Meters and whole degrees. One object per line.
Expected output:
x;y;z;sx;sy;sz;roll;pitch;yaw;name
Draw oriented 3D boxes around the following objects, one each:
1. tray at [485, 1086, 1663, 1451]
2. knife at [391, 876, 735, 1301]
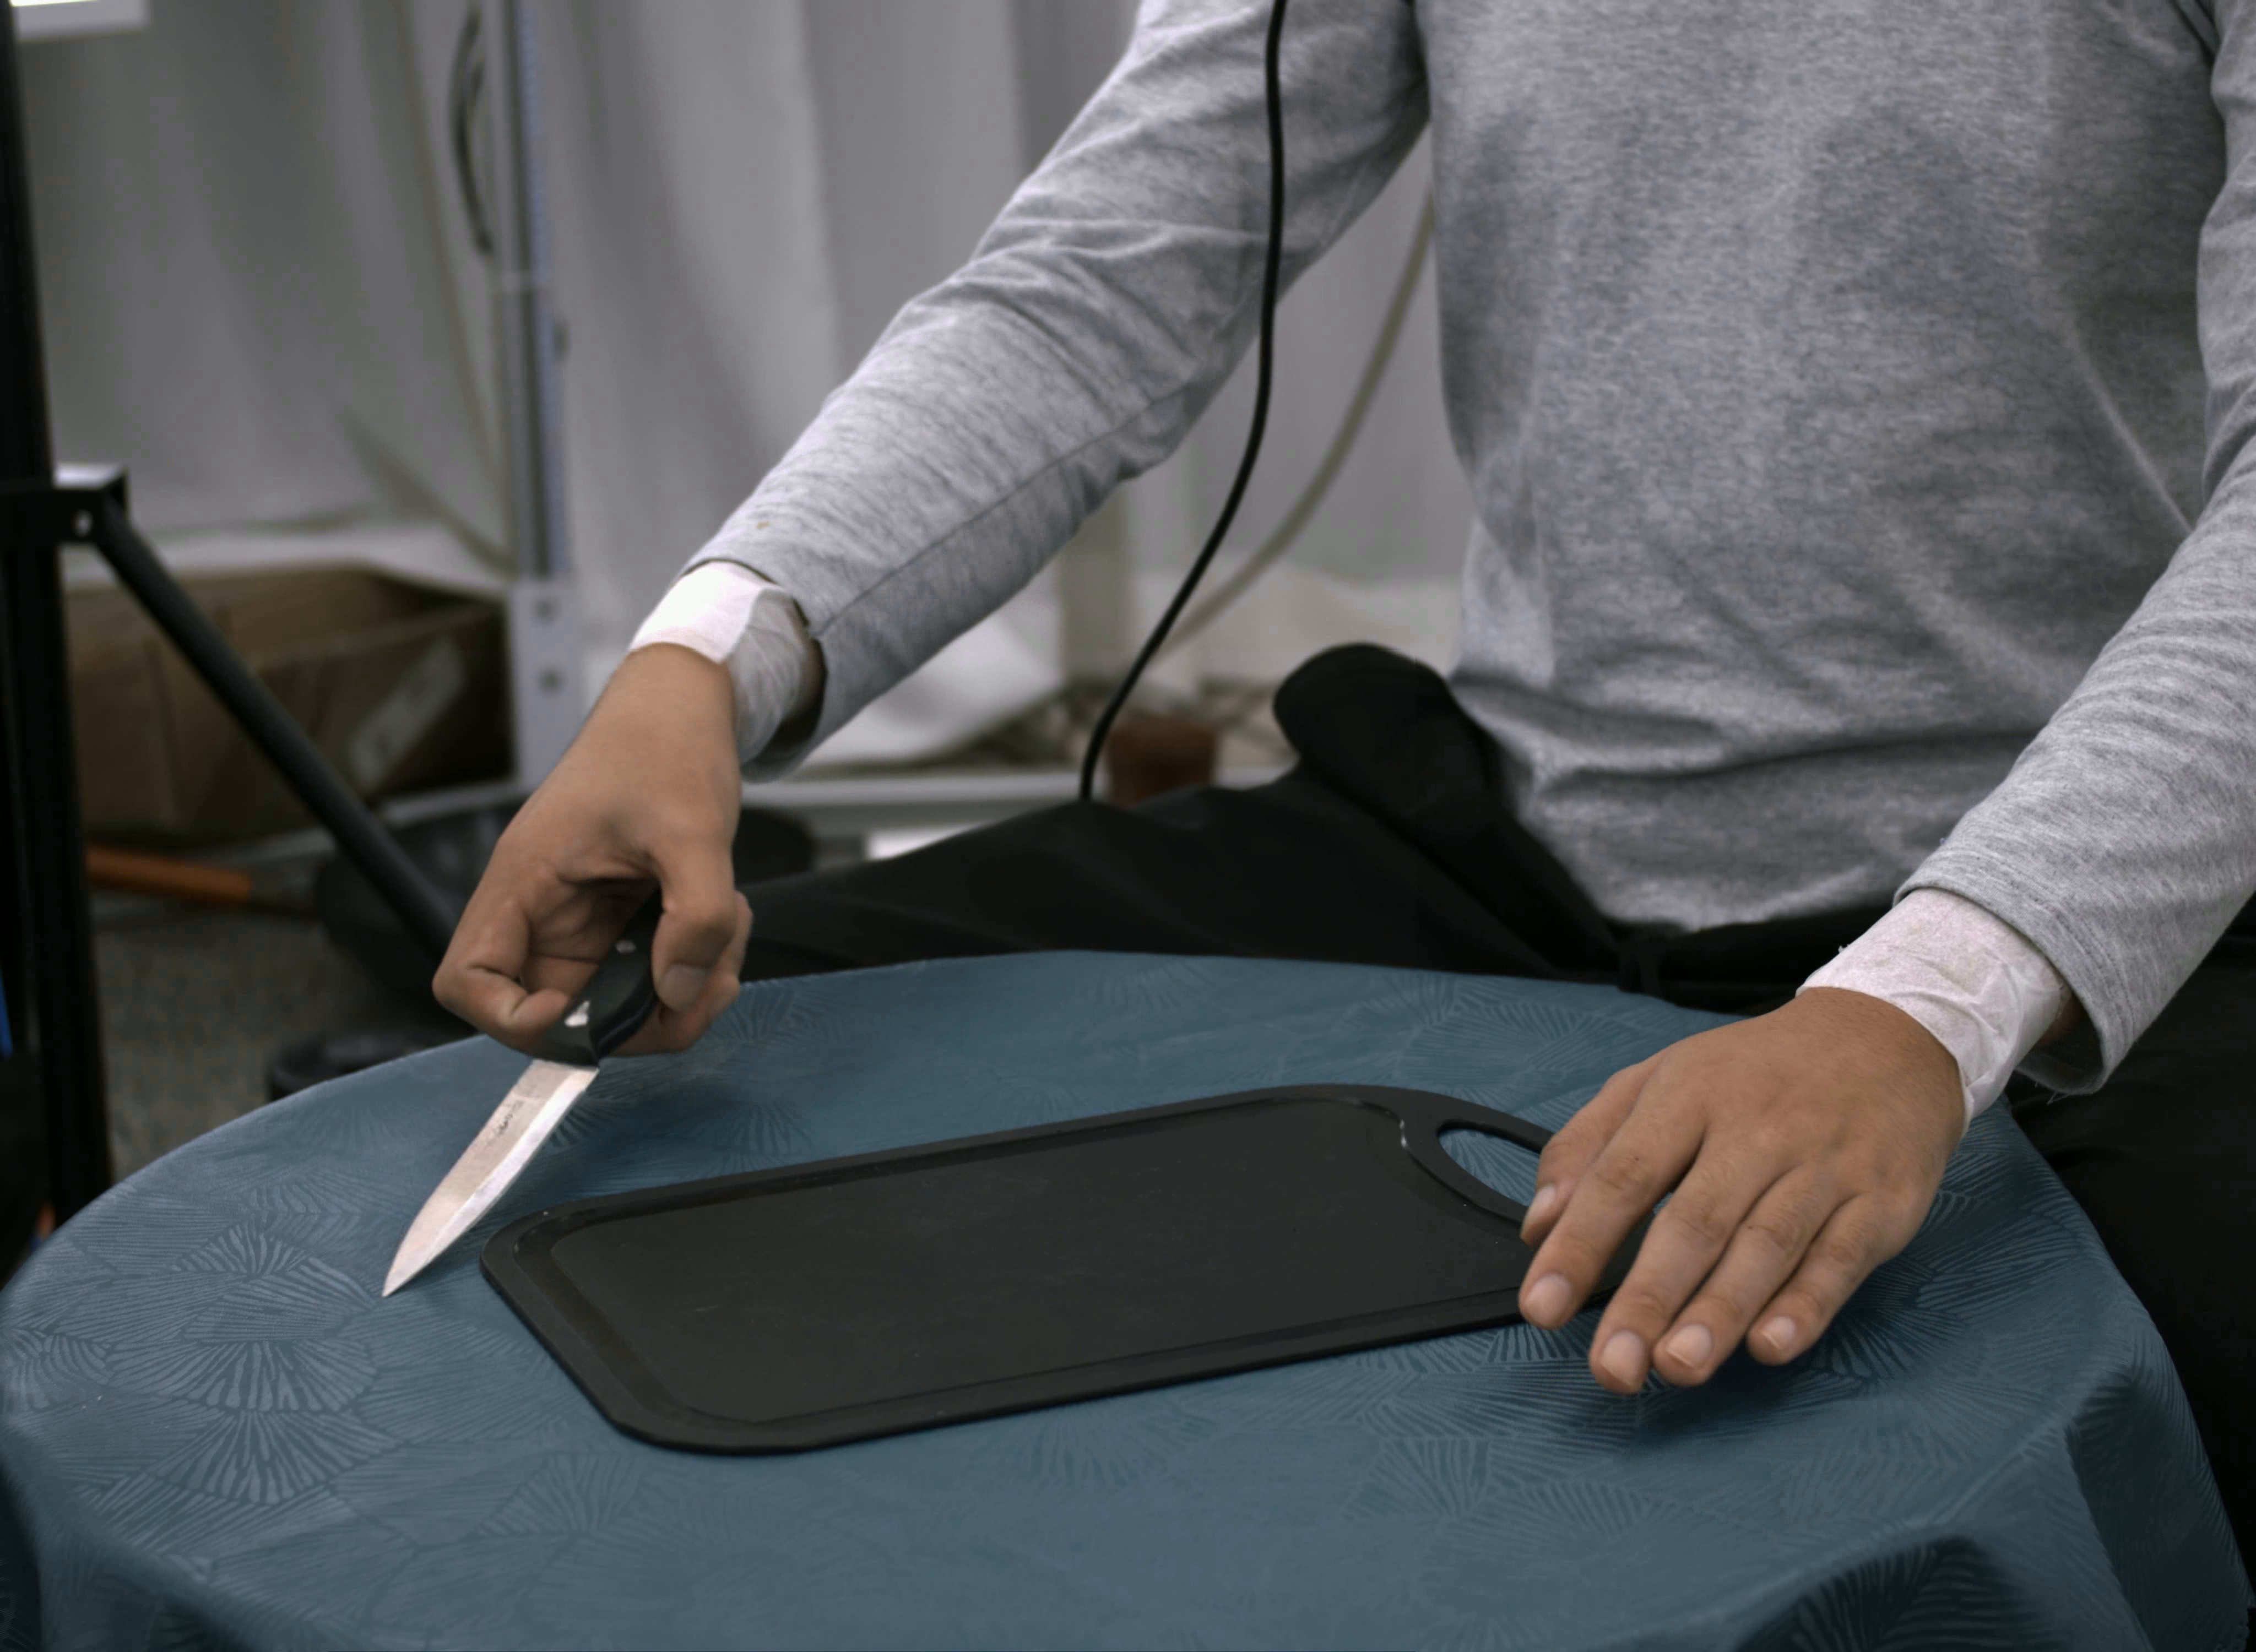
-0.011;0.119;1.514;0.319;0.010;0.215;-8;17;-19;tray
-0.171;0.077;1.602;0.025;0.016;0.236;4;30;19;knife
